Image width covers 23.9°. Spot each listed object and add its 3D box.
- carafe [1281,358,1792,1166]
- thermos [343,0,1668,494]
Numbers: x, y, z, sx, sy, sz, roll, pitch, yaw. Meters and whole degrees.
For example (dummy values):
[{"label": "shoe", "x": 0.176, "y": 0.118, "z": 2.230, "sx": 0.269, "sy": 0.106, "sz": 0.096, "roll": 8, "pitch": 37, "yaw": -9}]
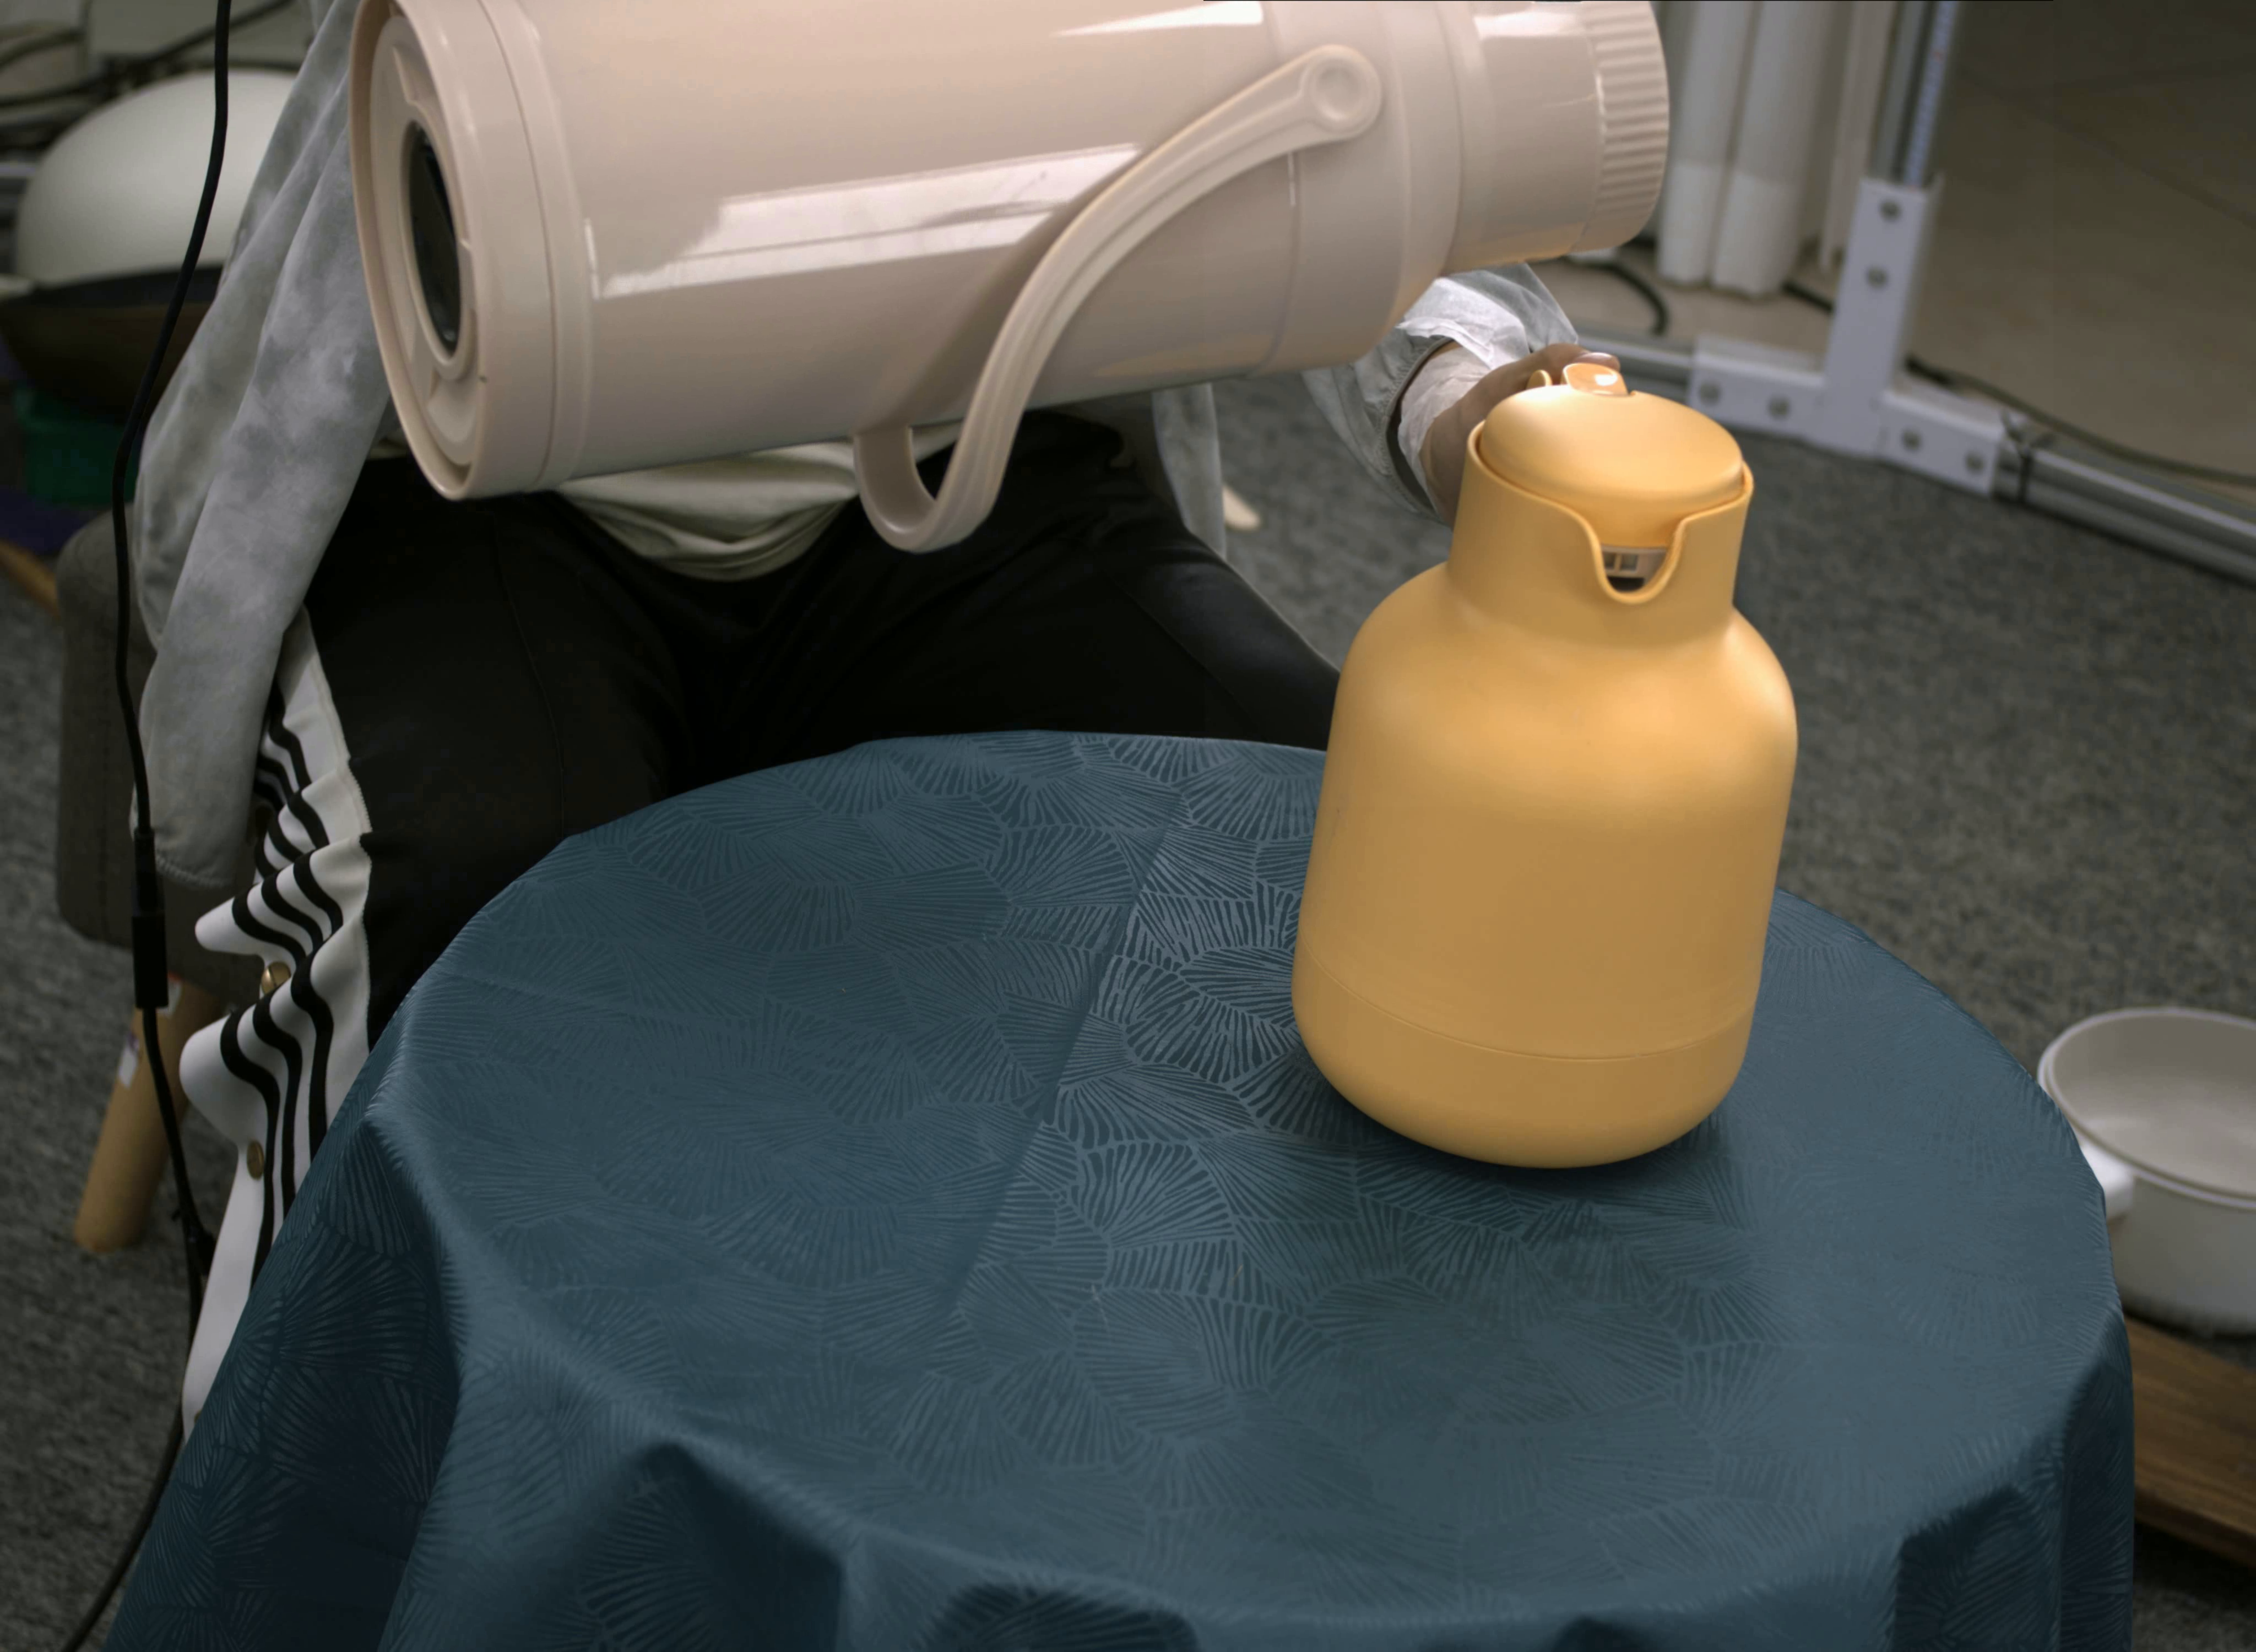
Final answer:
[{"label": "carafe", "x": 0.148, "y": -0.031, "z": 1.855, "sx": 0.163, "sy": 0.259, "sz": 0.203, "roll": 7, "pitch": 27, "yaw": -4}, {"label": "thermos", "x": -0.037, "y": -0.225, "z": 1.680, "sx": 0.404, "sy": 0.207, "sz": 0.176, "roll": -10, "pitch": 1, "yaw": -17}]
